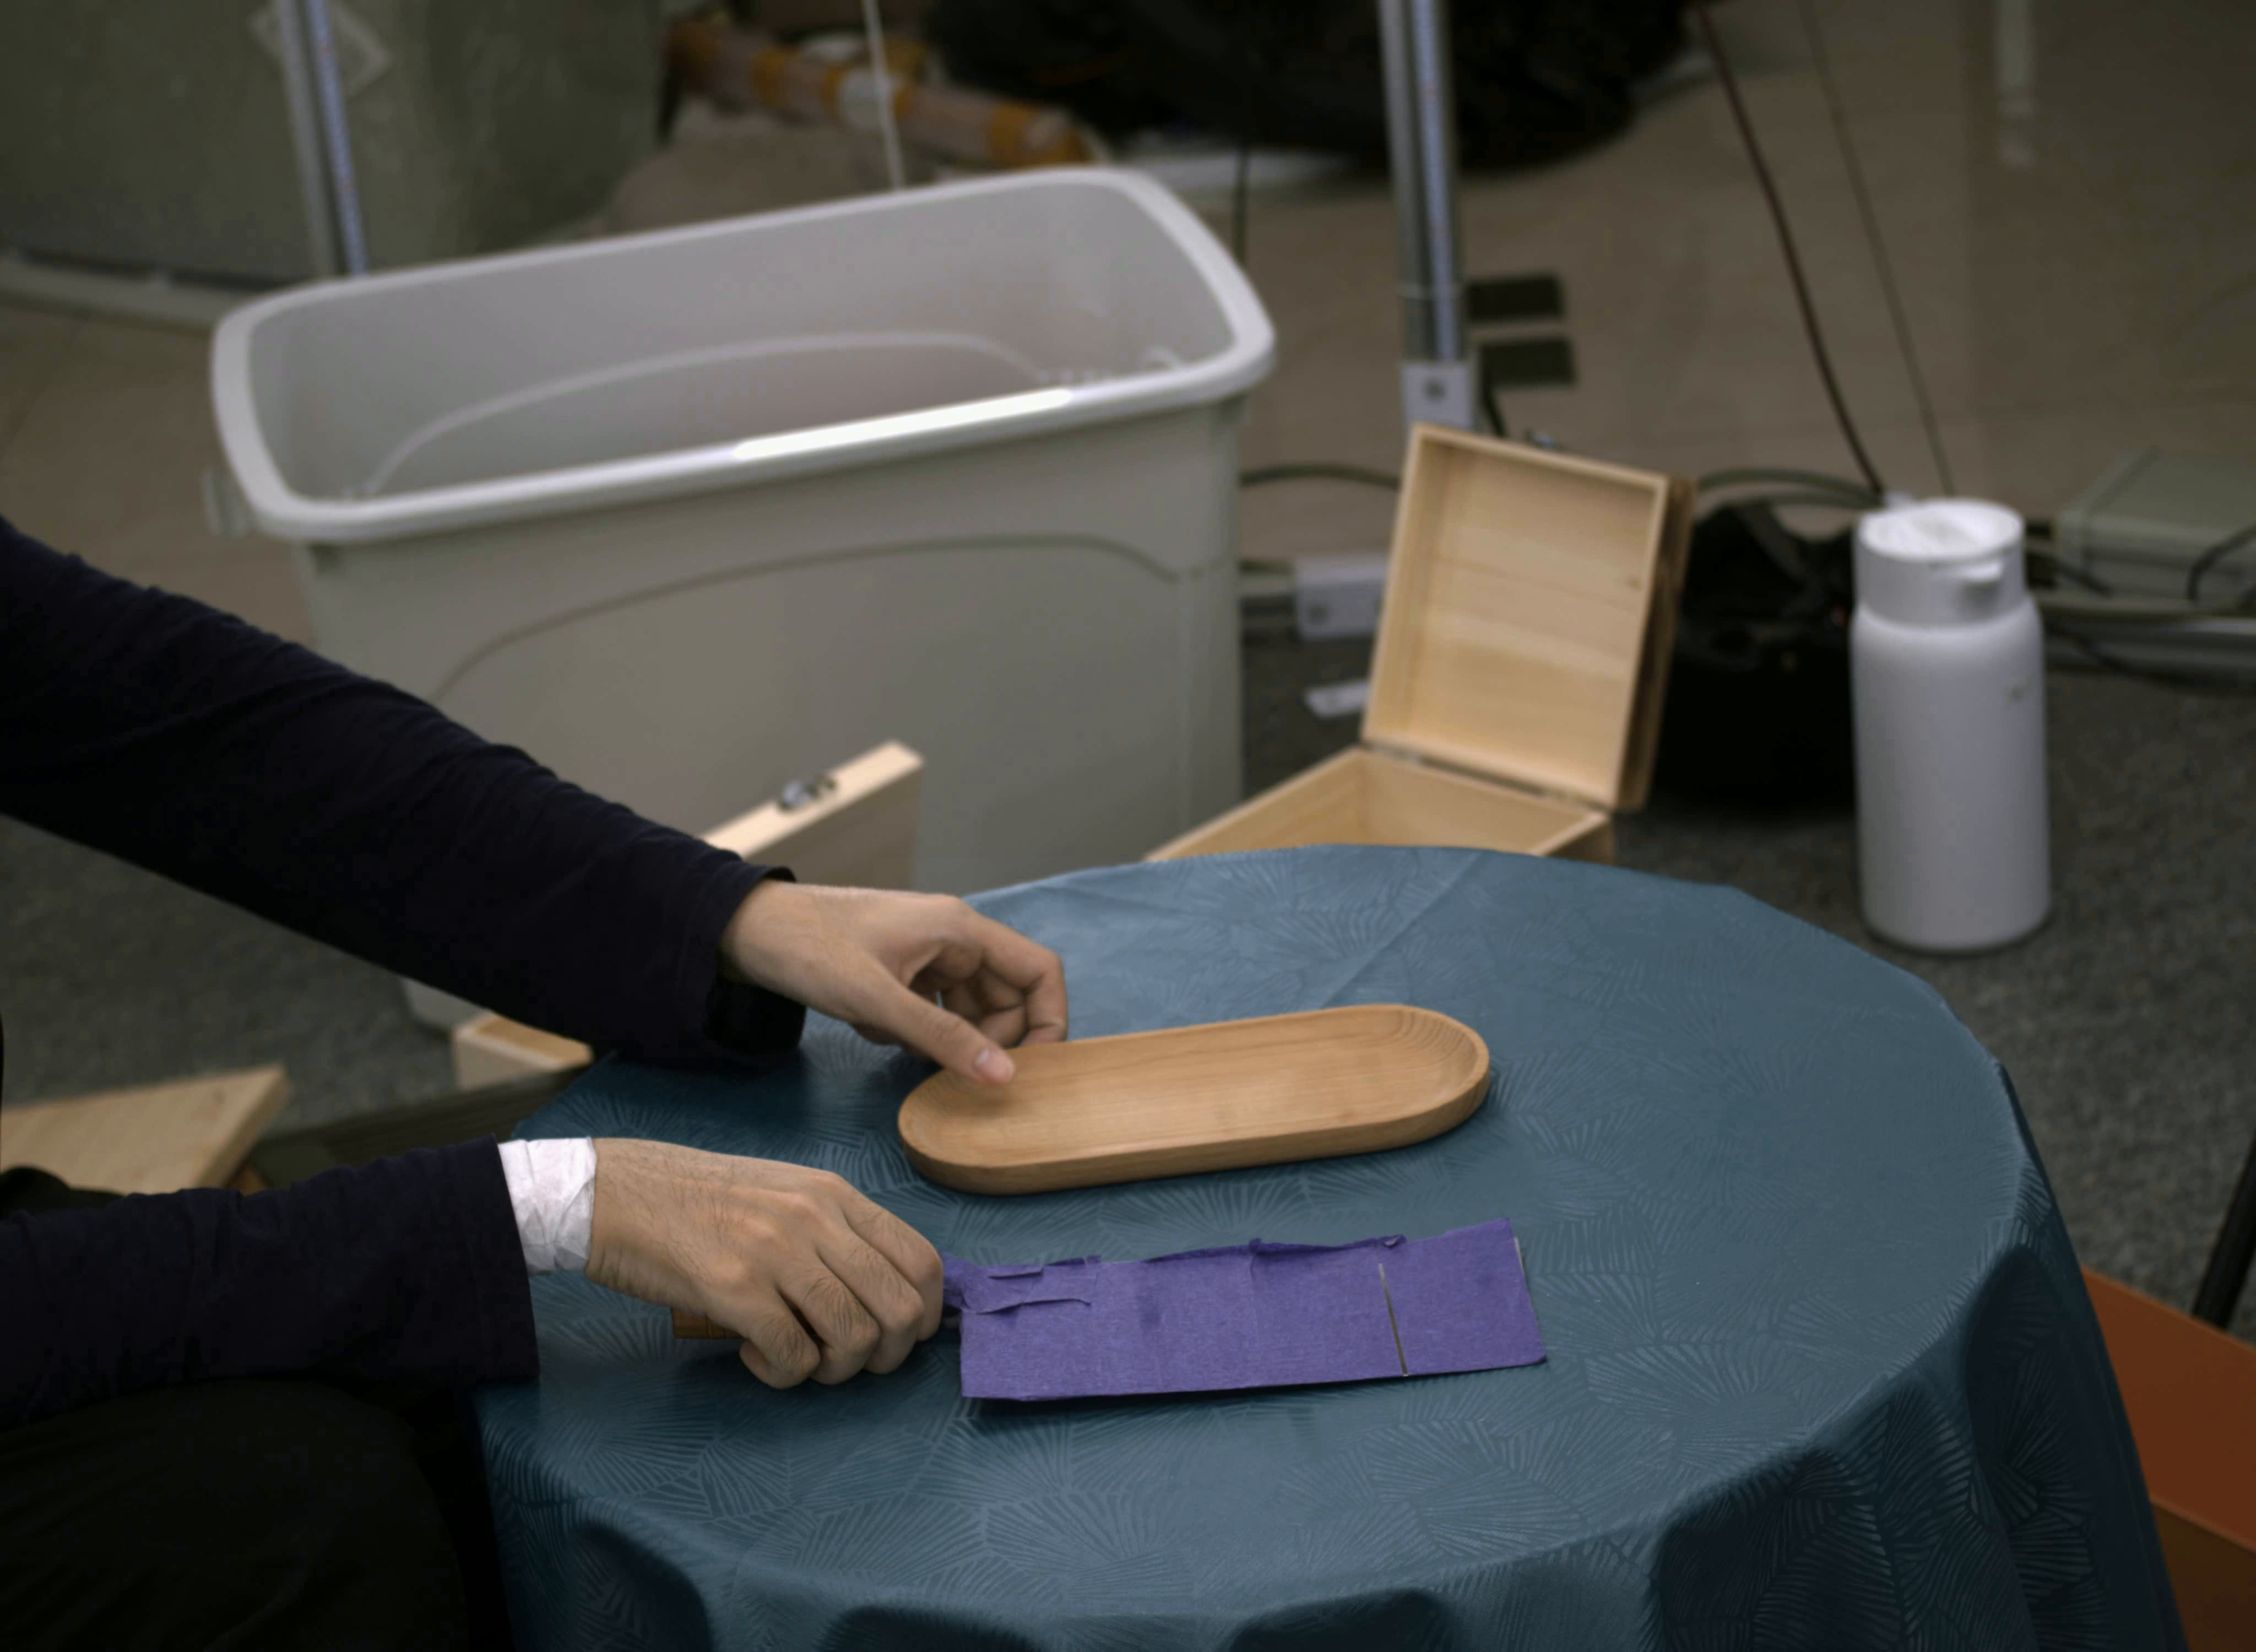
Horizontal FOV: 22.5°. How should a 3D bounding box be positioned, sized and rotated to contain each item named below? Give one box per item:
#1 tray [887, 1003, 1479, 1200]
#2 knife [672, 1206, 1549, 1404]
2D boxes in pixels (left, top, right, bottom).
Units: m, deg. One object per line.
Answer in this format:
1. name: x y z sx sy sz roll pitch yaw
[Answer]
1. tray: 0.022 0.107 2.196 0.231 0.020 0.100 -9 24 -1
2. knife: -0.008 0.175 2.041 0.315 0.033 0.102 -6 26 0
